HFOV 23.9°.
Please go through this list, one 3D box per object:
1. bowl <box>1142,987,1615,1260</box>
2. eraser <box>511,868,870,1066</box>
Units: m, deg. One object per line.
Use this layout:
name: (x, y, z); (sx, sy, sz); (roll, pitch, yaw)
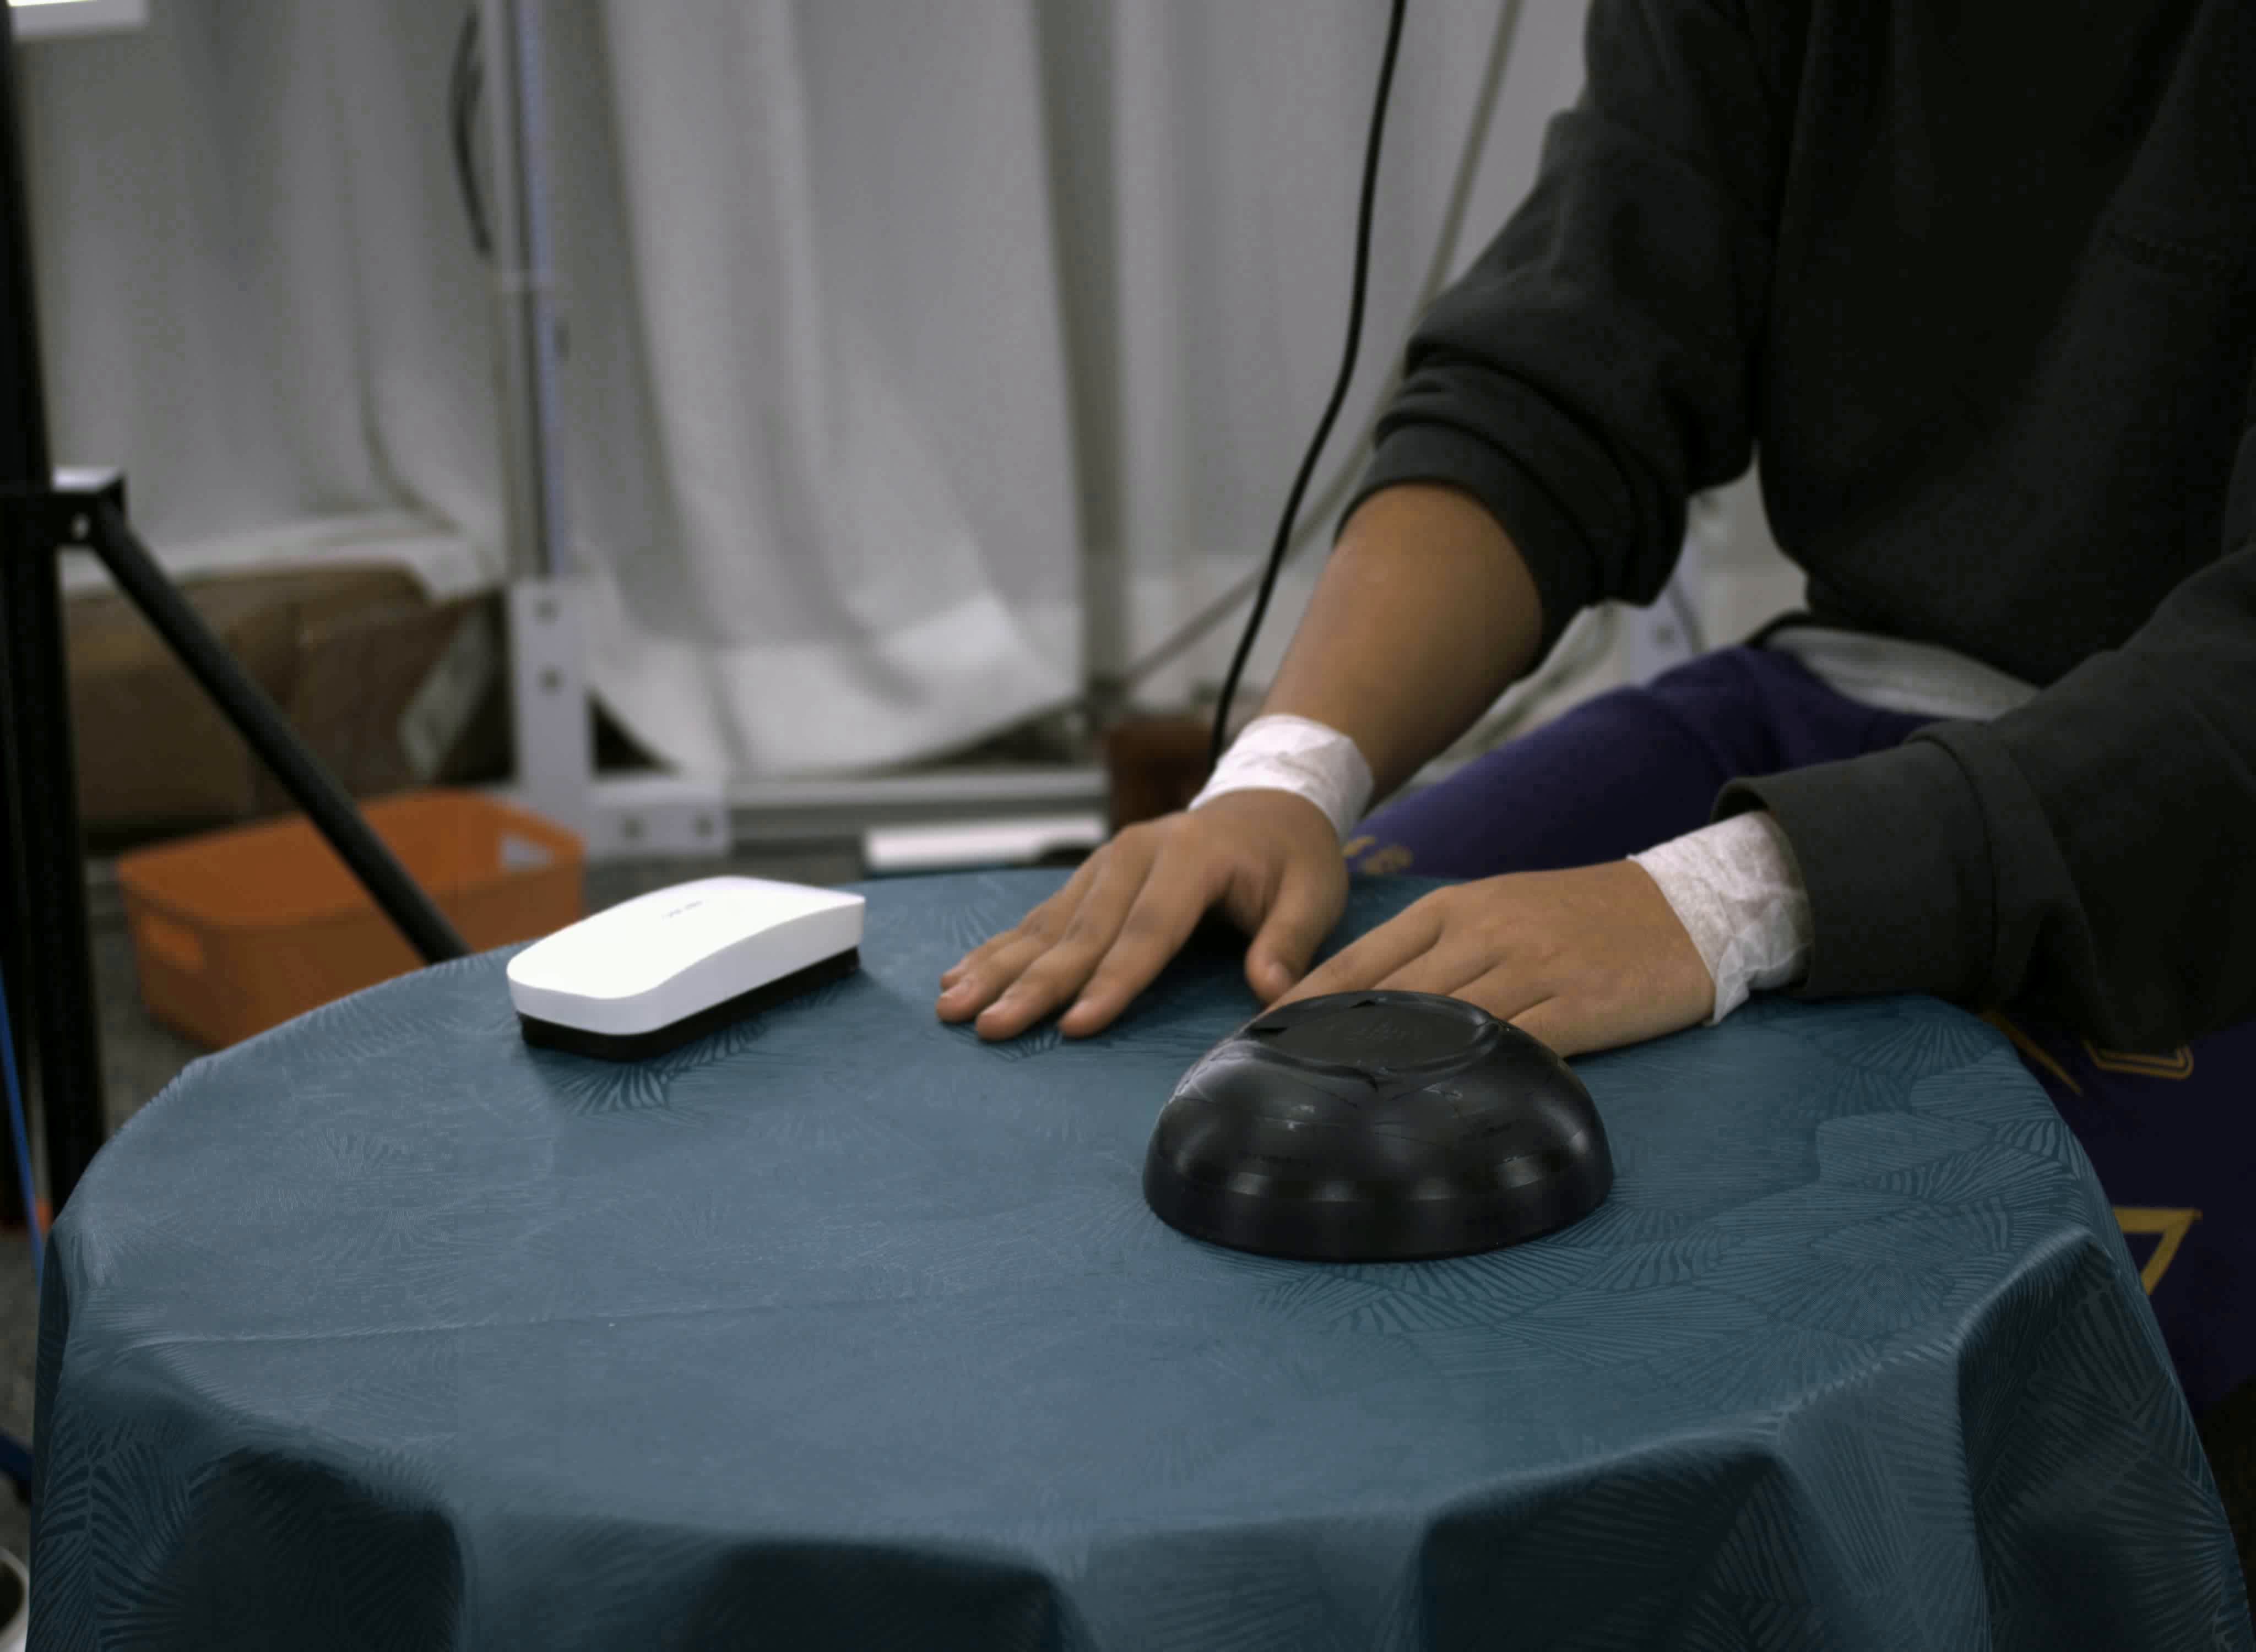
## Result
bowl: (0.072, 0.080, 1.551); (0.139, 0.050, 0.141); (-4, 16, 0)
eraser: (-0.141, 0.043, 1.755); (0.065, 0.034, 0.128); (11, 22, 37)
